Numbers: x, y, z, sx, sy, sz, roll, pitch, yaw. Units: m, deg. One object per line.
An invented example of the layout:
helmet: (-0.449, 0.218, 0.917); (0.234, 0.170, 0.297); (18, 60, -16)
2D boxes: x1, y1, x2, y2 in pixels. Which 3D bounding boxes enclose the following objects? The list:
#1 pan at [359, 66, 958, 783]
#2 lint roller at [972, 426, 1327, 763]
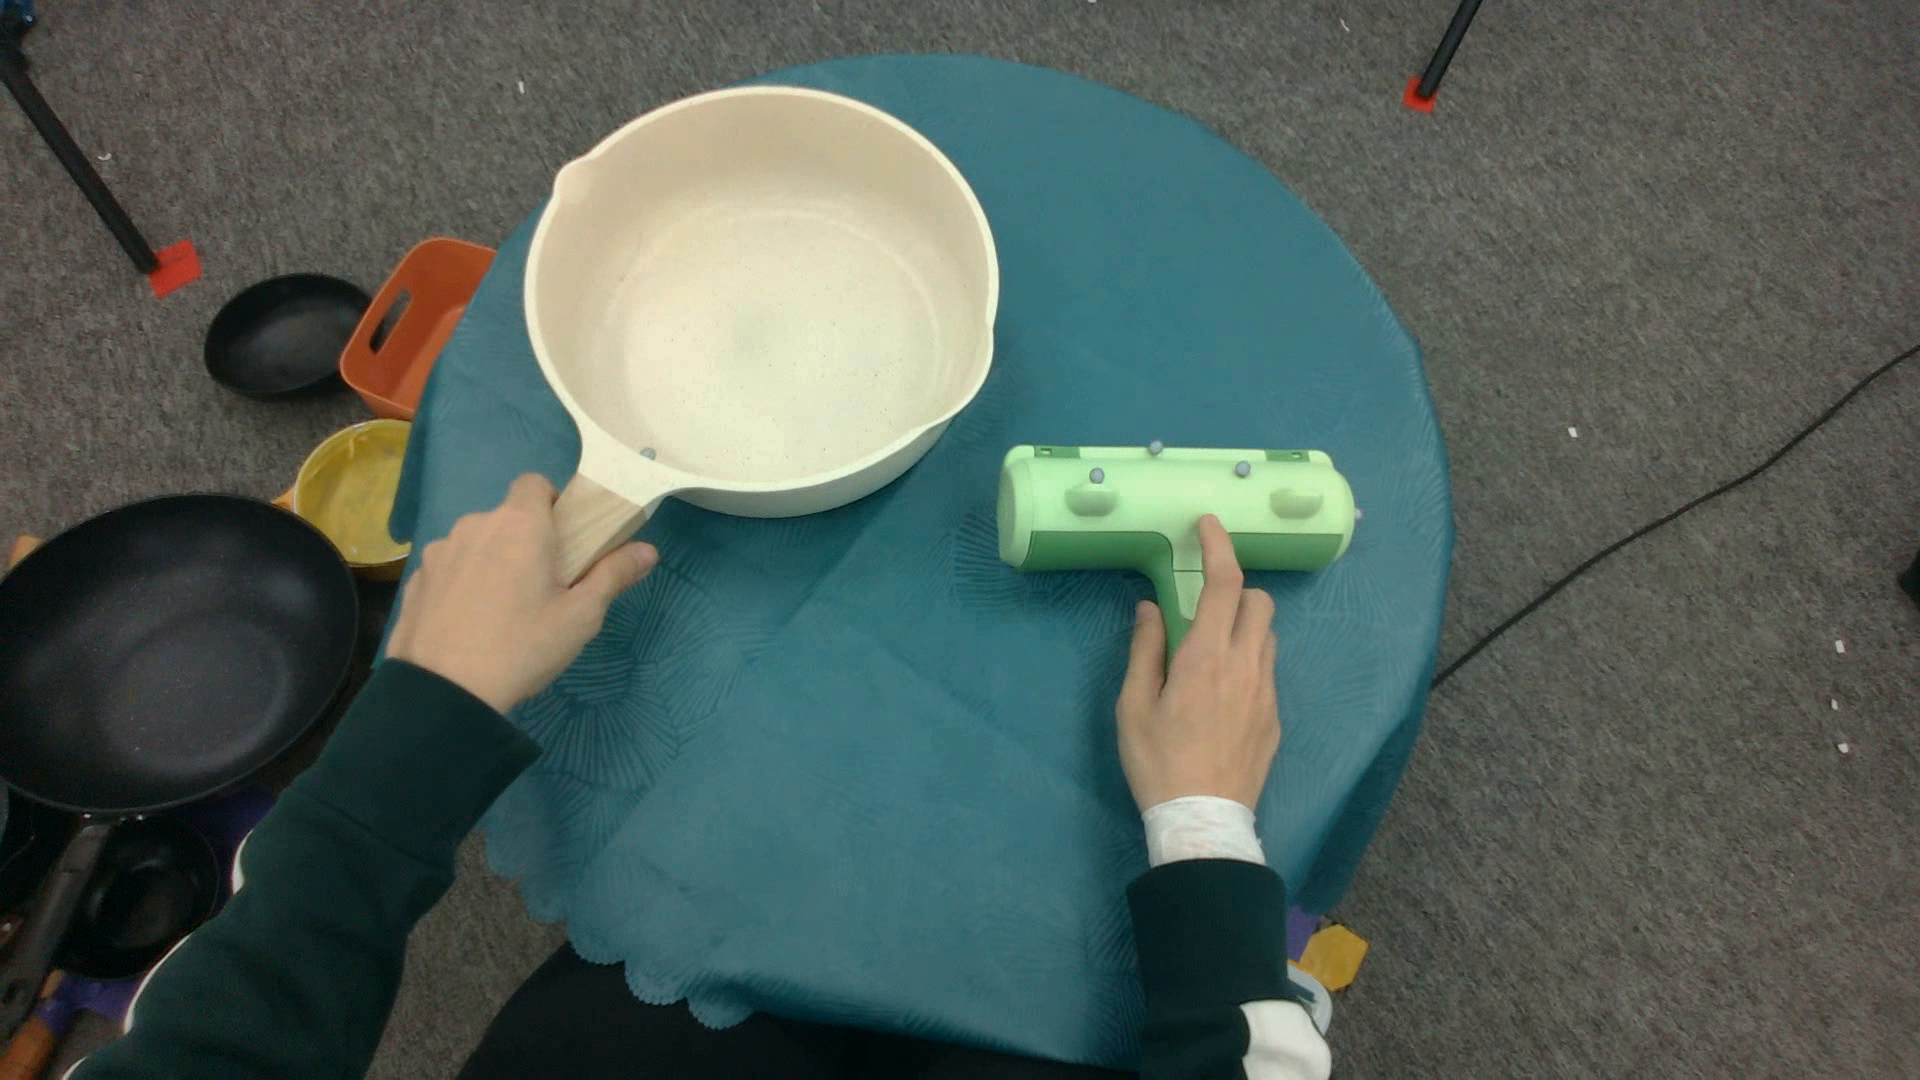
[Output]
pan: (-0.169, -0.061, 0.733); (0.263, 0.101, 0.436); (26, 71, 7)
lint roller: (0.114, 0.019, 0.727); (0.199, 0.082, 0.184); (-1, 62, -16)
